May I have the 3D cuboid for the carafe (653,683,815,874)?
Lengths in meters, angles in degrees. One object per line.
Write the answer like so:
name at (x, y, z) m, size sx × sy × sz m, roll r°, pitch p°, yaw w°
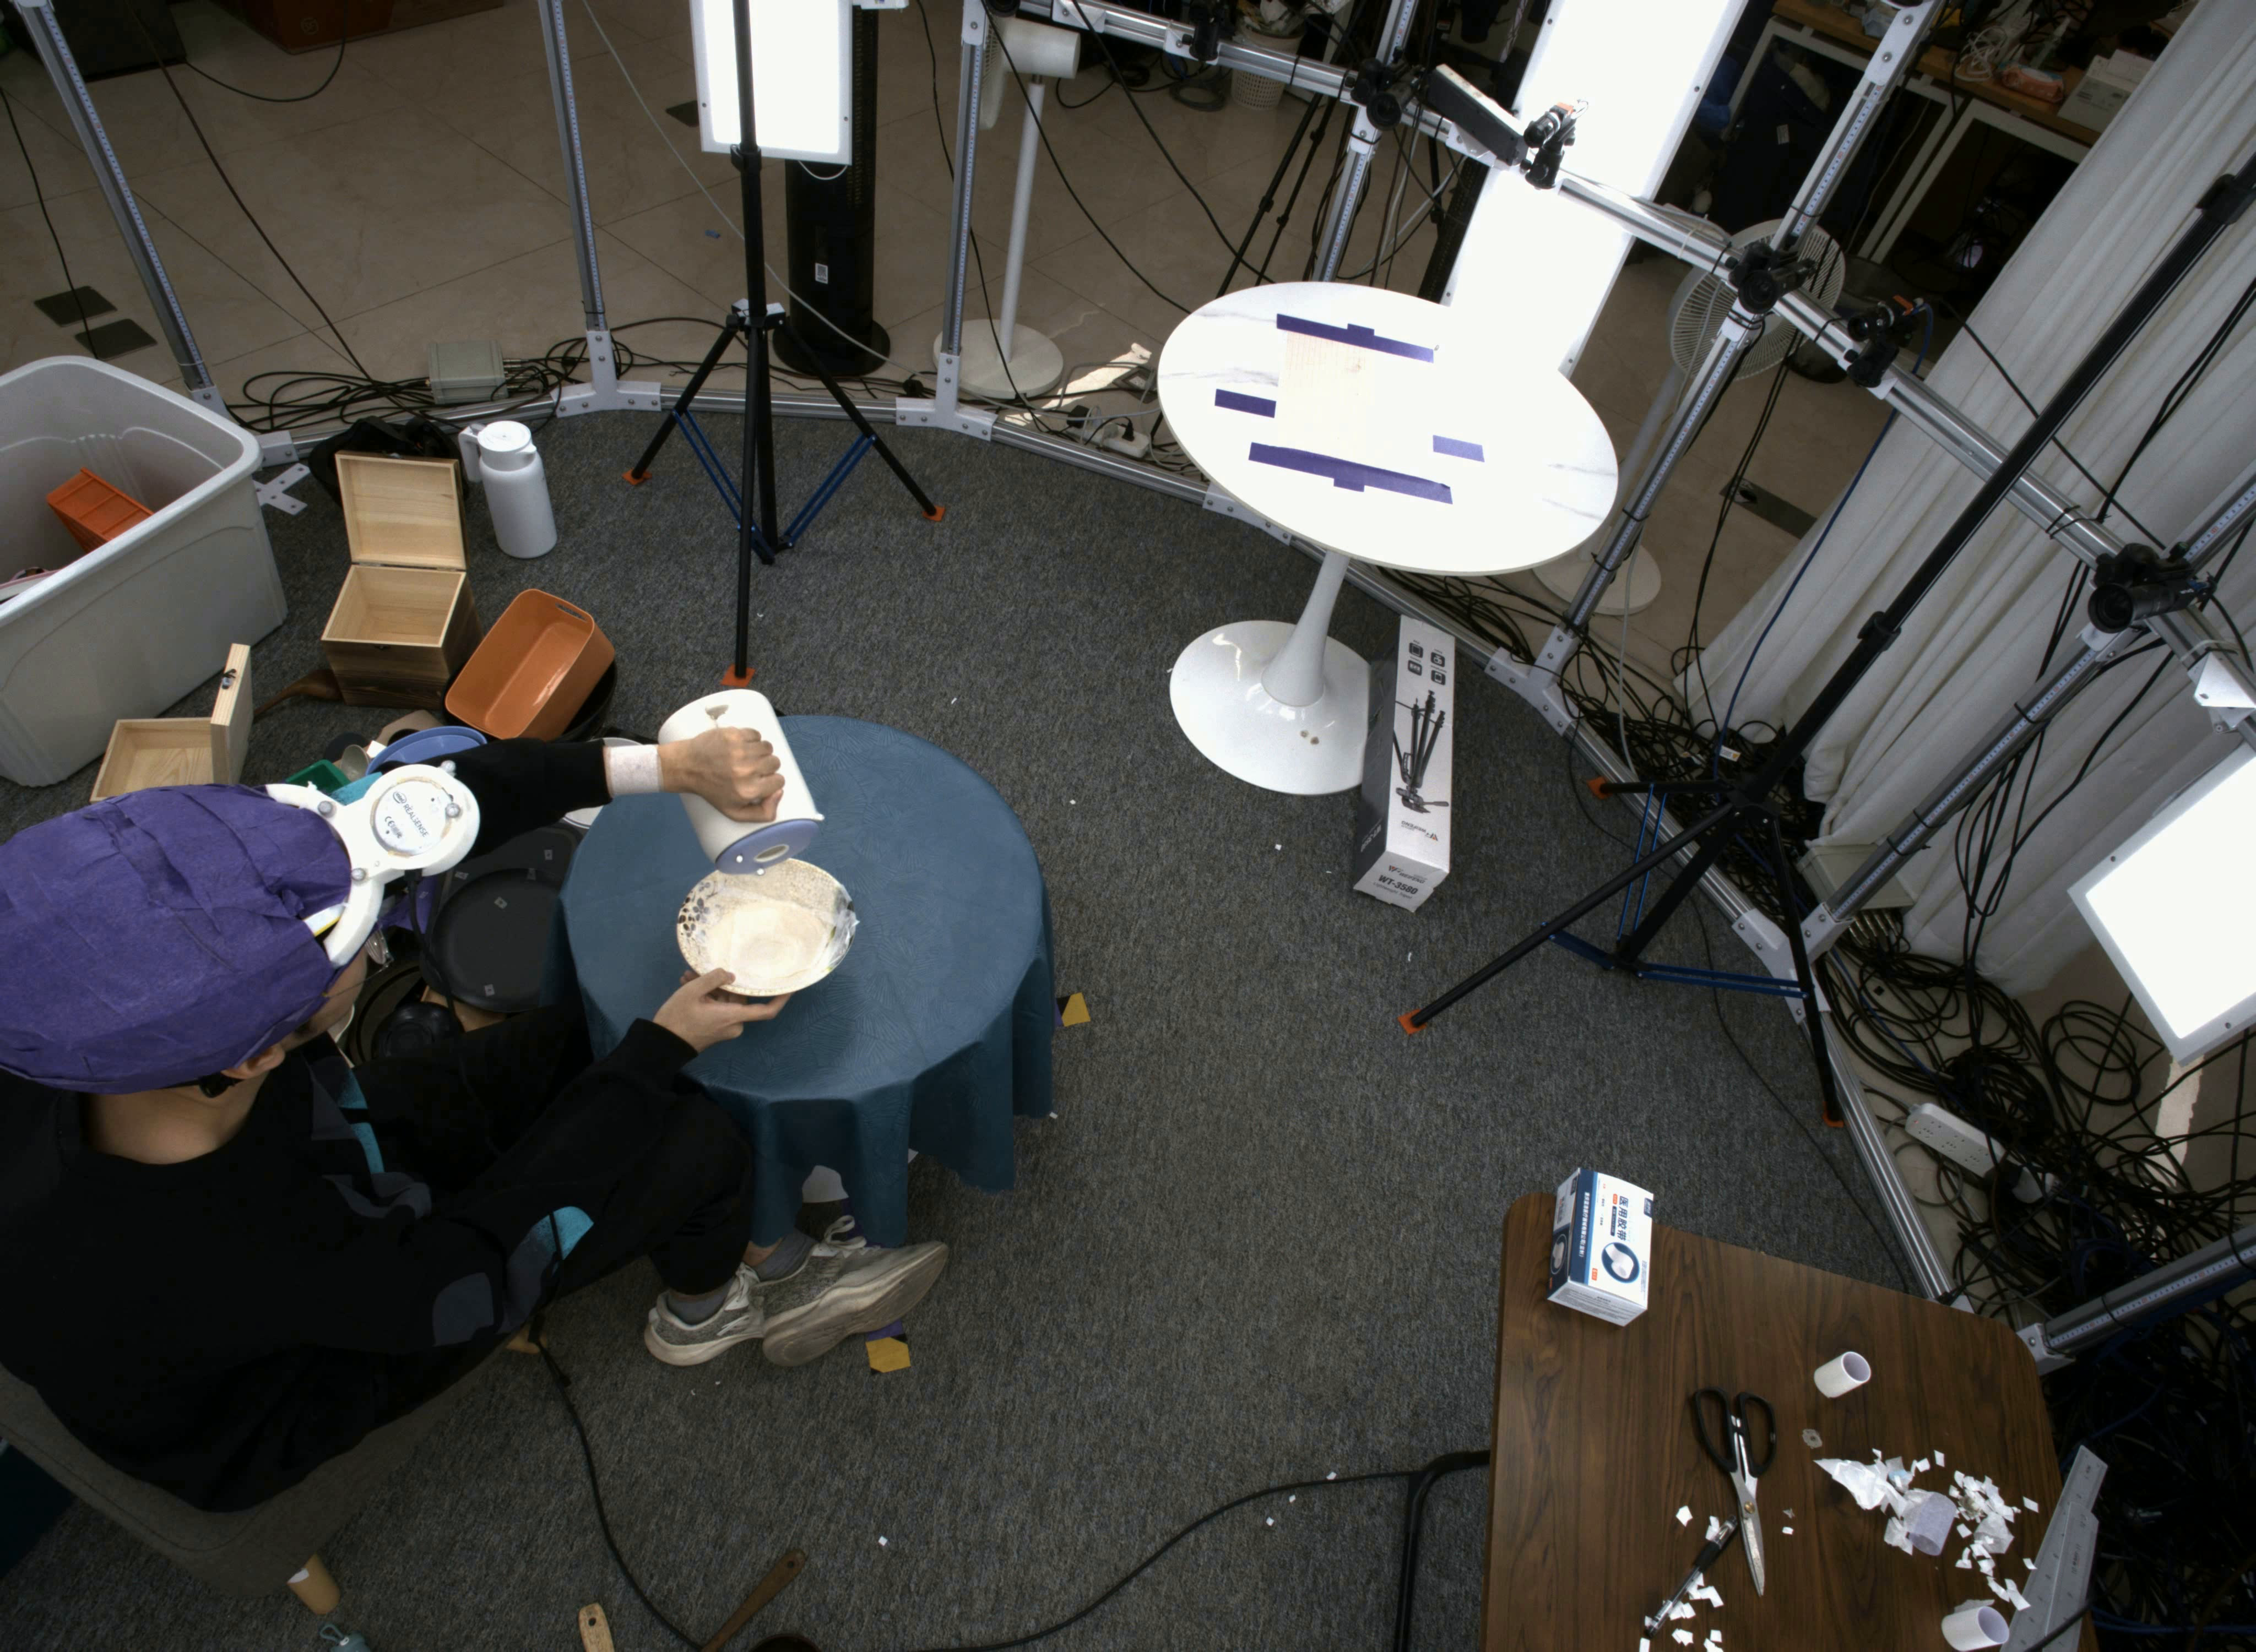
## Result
carafe at (-0.431, -0.062, 1.403) m, size 0.132 × 0.193 × 0.181 m, roll -25°, pitch 76°, yaw -19°

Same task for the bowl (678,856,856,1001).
bowl at (-0.421, 0.136, 1.530) m, size 0.202 × 0.080 × 0.200 m, roll 5°, pitch 51°, yaw -4°
